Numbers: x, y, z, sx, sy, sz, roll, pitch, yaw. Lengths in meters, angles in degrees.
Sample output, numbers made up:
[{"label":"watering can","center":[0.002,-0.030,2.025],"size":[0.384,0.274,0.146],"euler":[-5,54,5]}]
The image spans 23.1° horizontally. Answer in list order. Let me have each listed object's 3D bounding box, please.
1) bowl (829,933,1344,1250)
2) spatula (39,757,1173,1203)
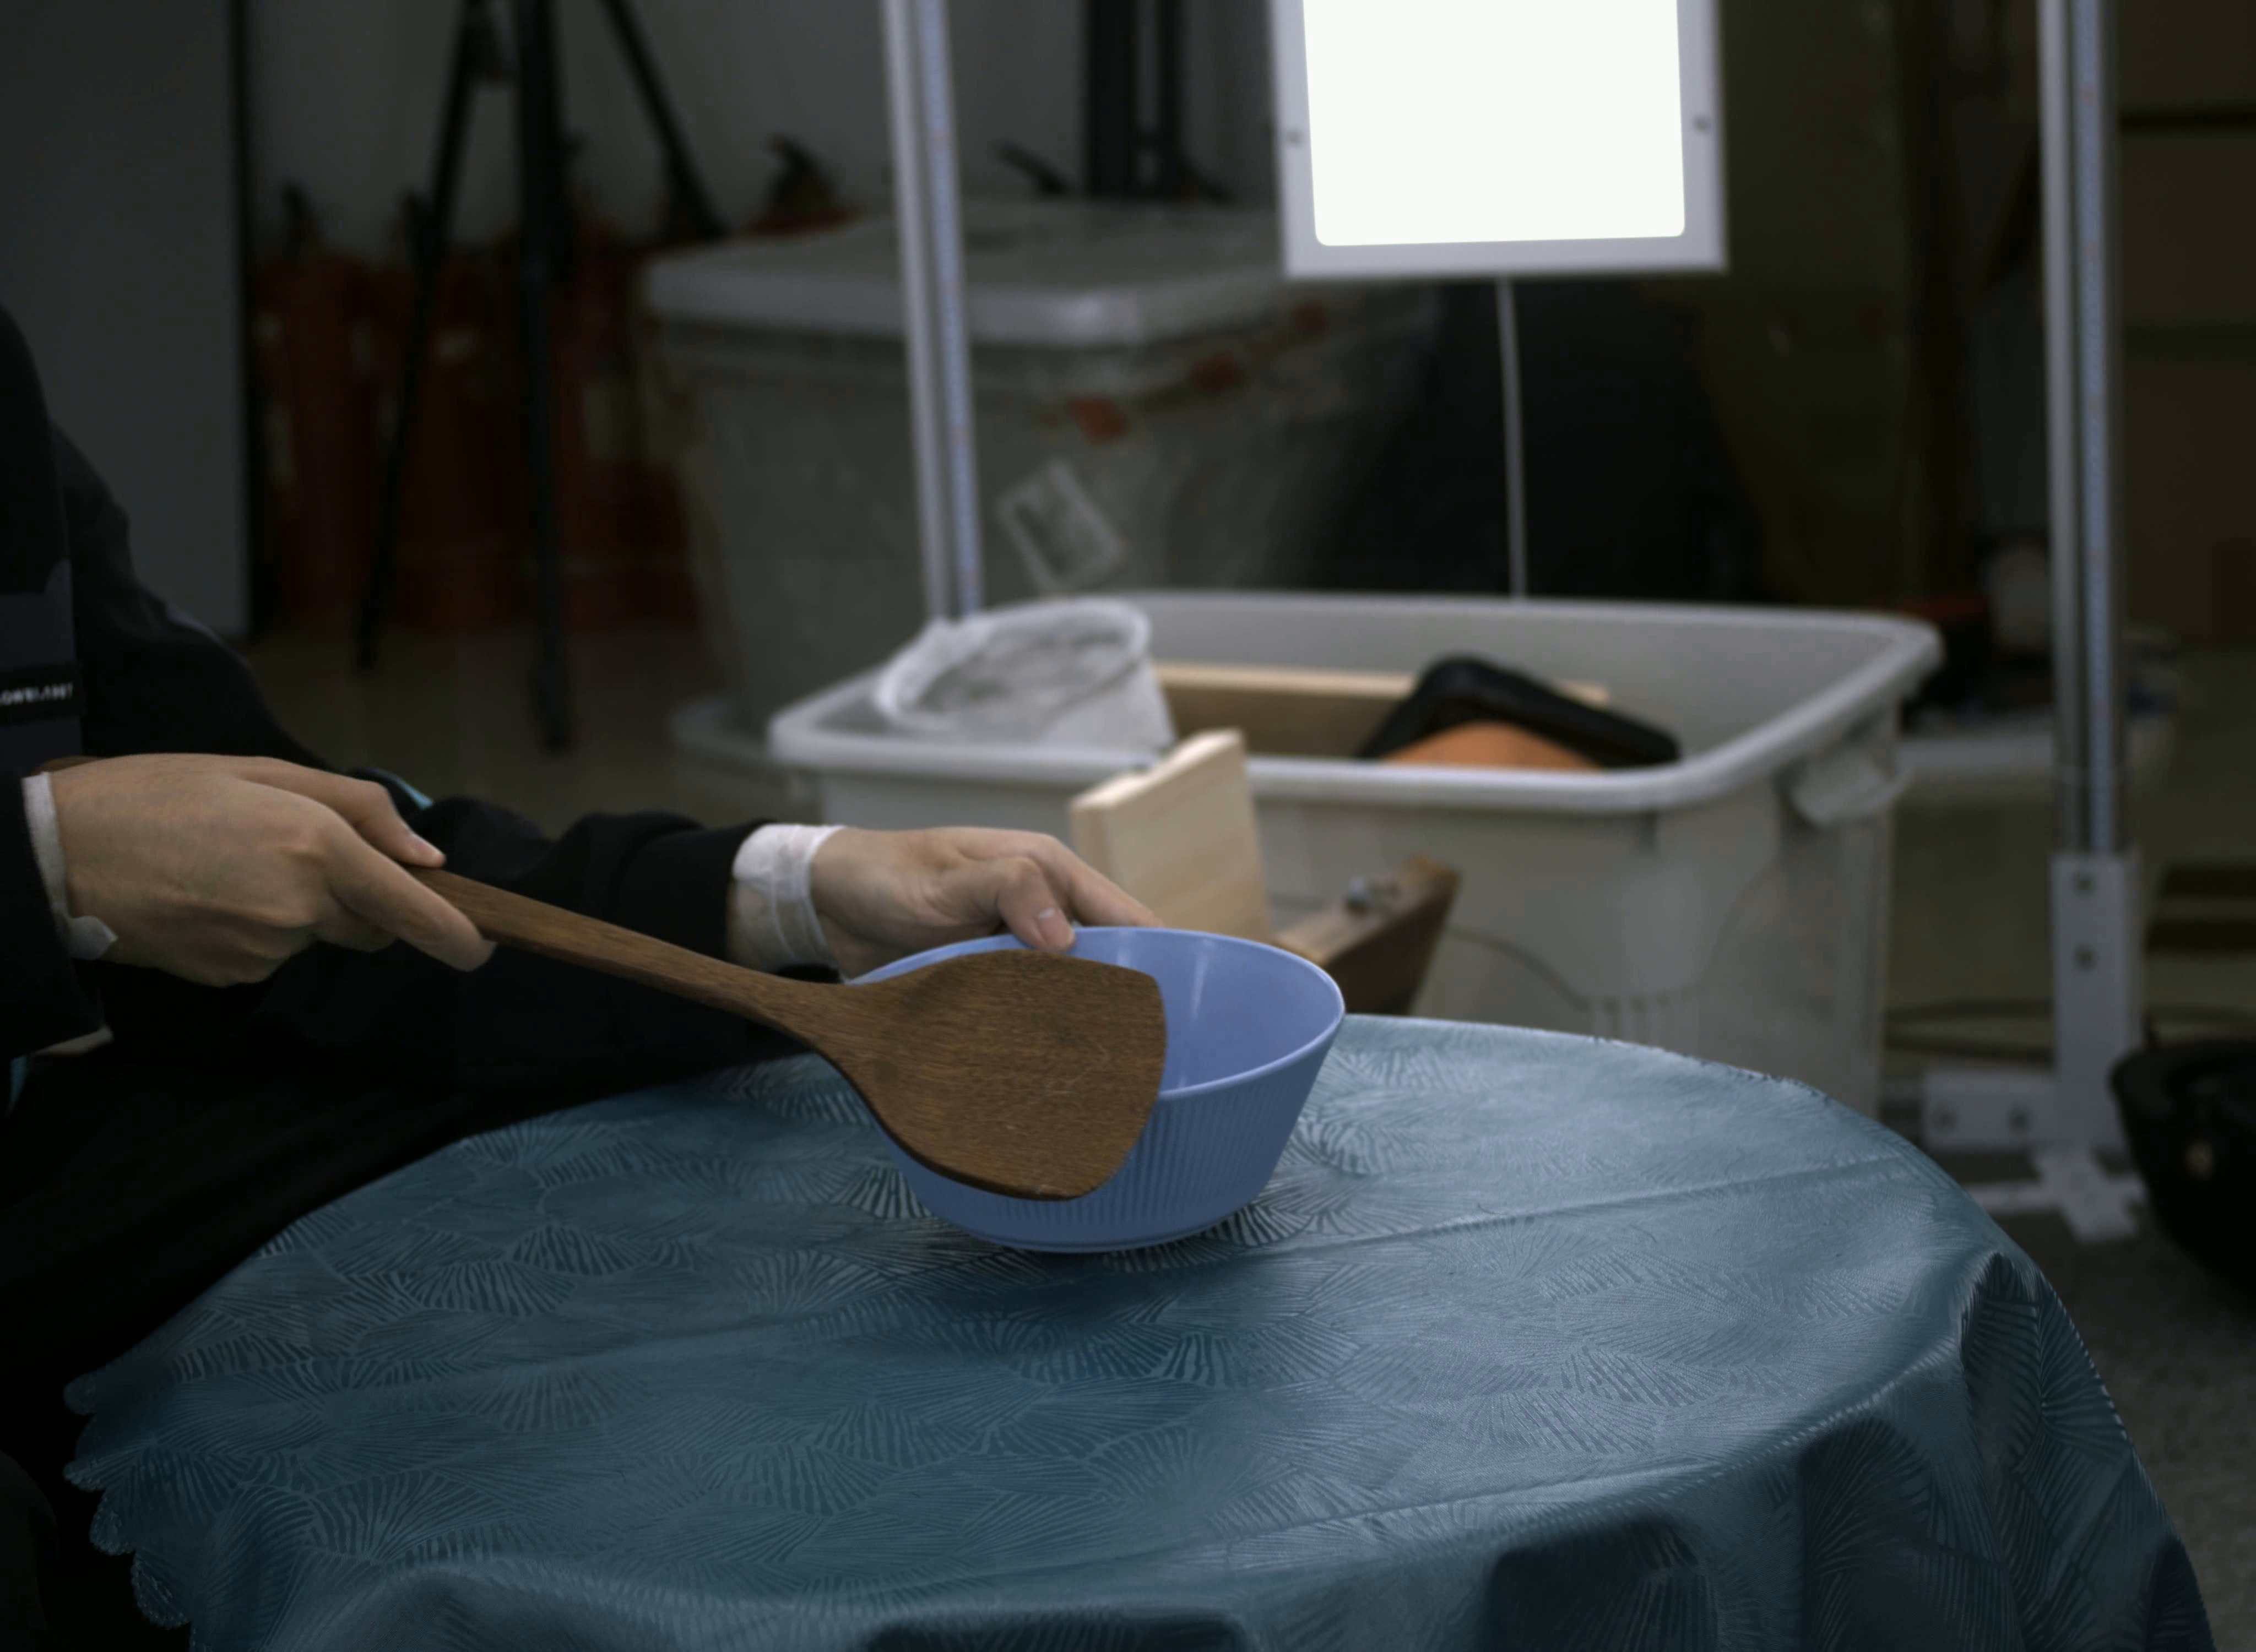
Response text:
[{"label":"bowl","center":[-0.012,0.093,1.863],"size":[0.175,0.070,0.176],"euler":[-4,16,0]},{"label":"spatula","center":[-0.173,0.038,1.794],"size":[0.387,0.016,0.095],"euler":[16,55,7]}]
